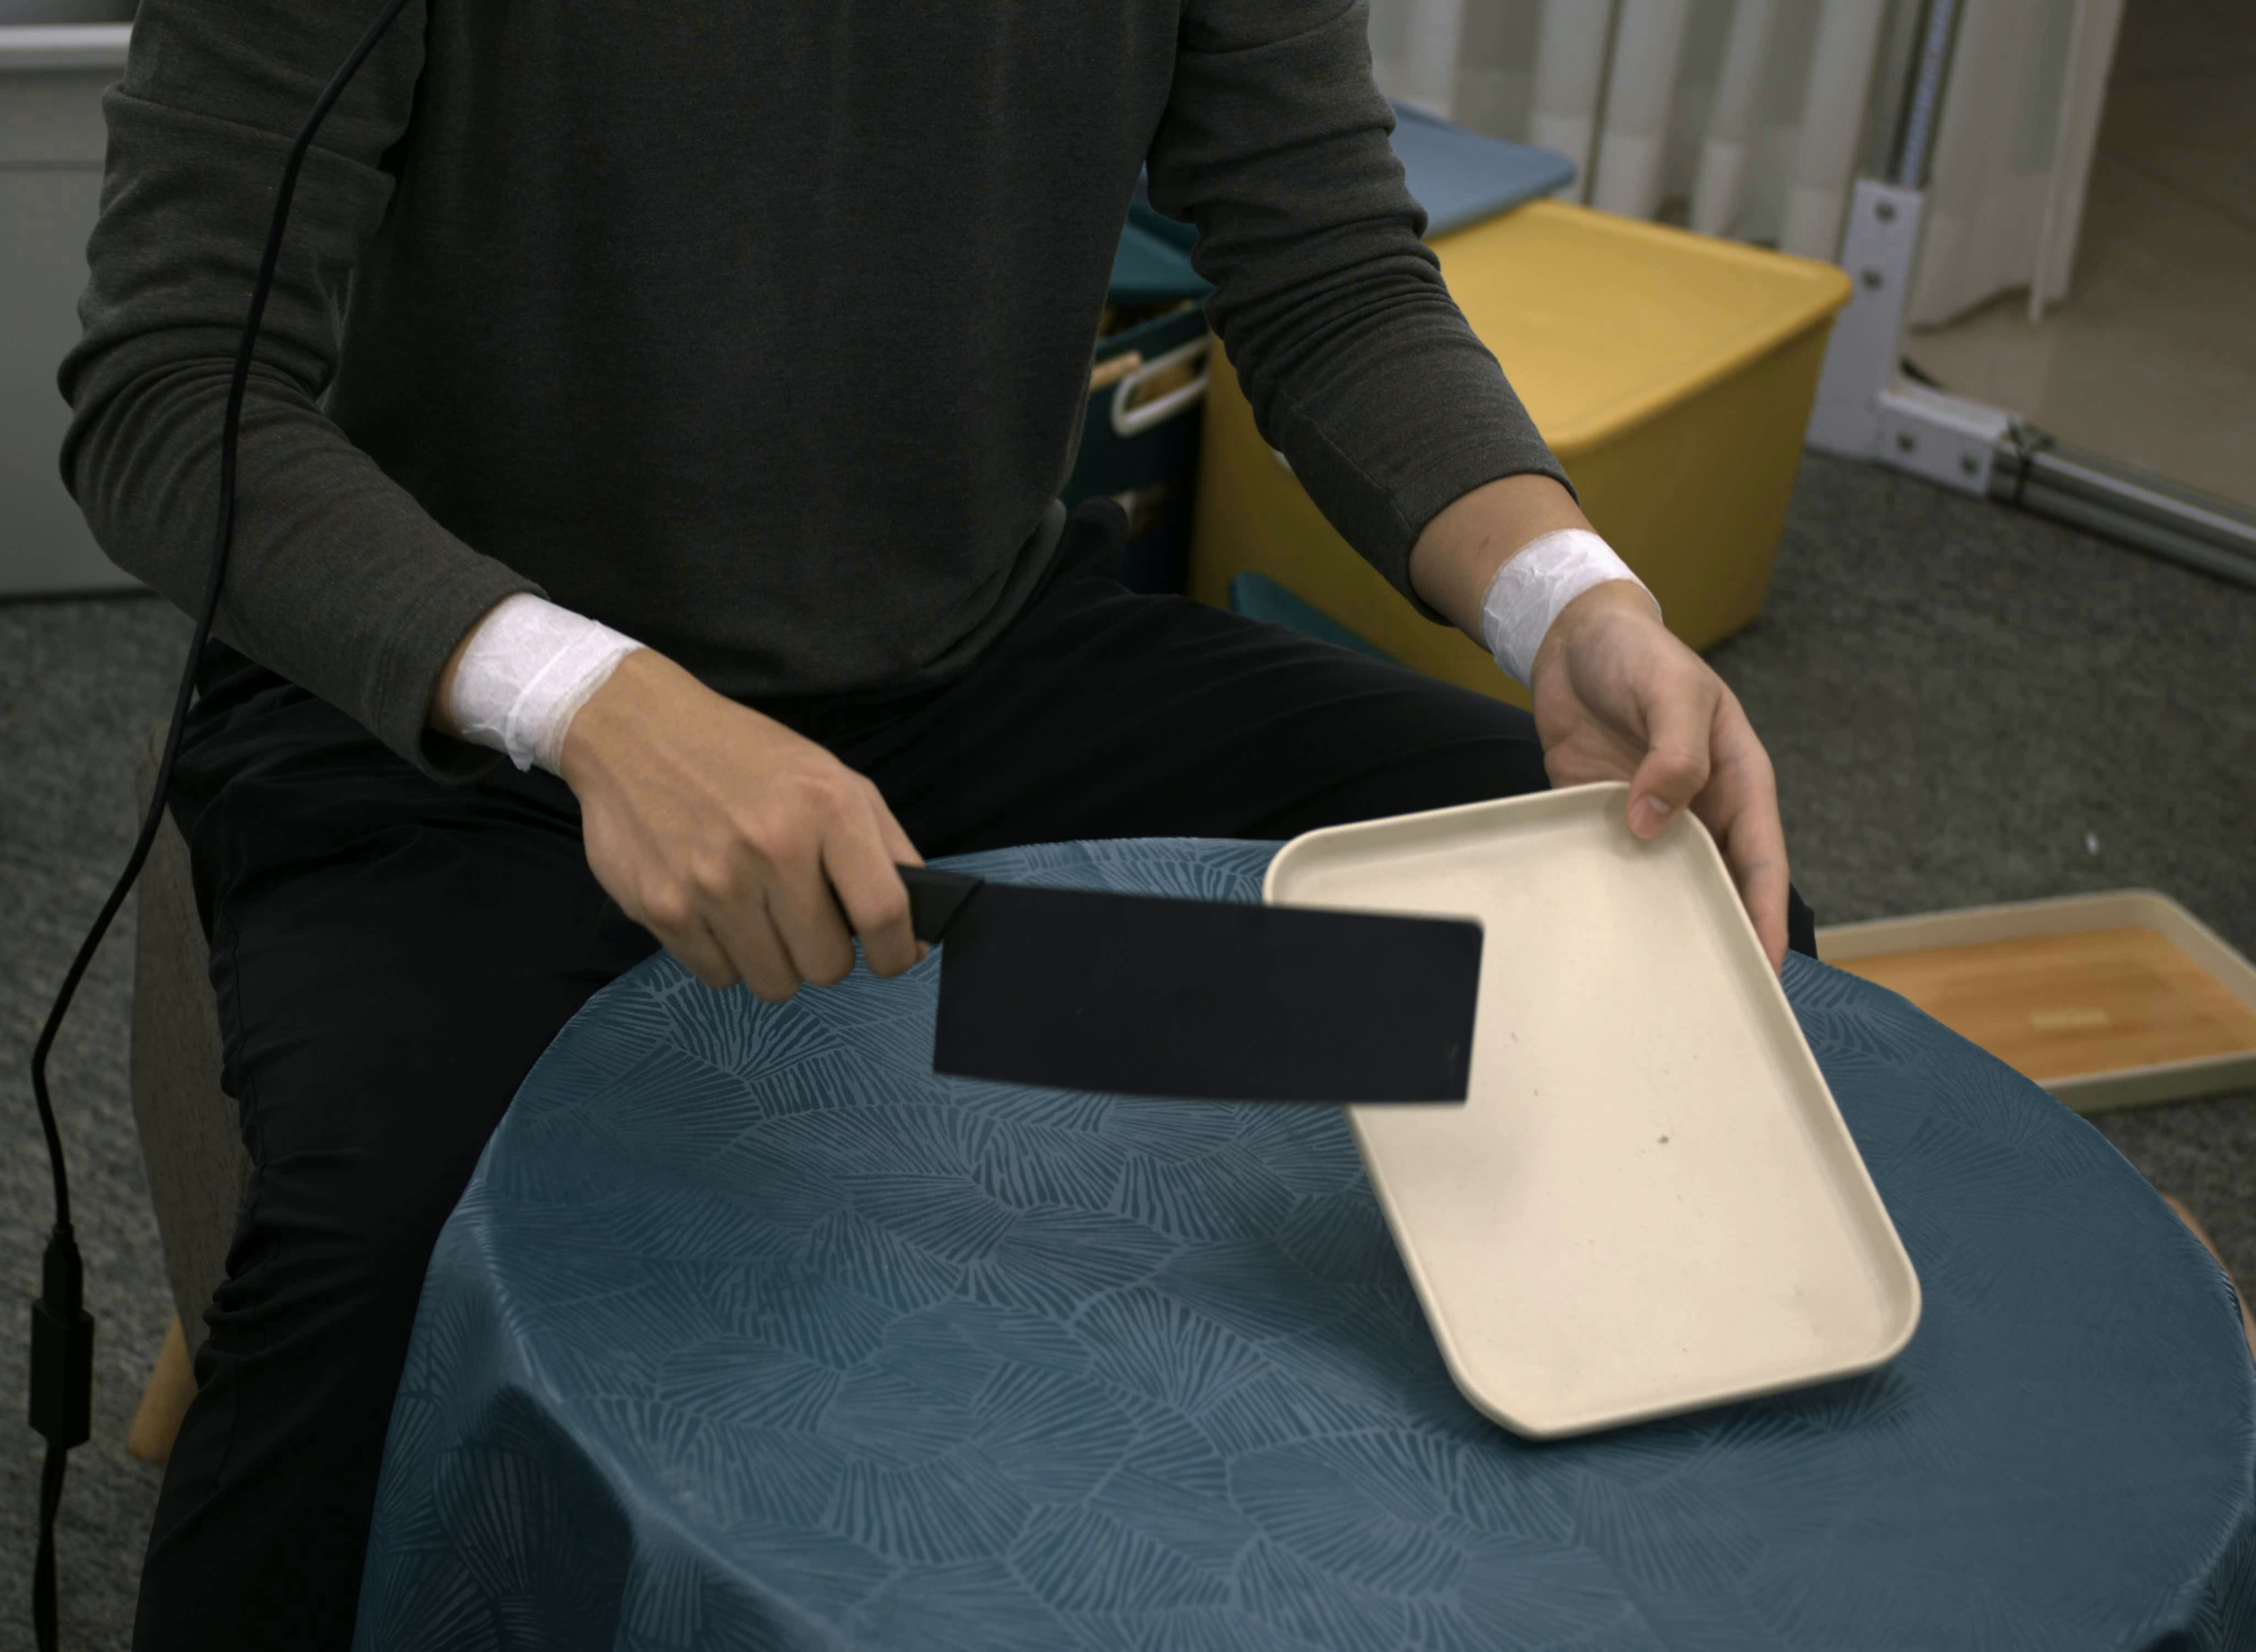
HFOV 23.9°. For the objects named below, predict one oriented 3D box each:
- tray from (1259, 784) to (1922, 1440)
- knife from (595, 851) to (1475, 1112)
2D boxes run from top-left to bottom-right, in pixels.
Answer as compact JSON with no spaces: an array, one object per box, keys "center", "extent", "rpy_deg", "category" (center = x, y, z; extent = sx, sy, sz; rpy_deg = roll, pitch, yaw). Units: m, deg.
[{"center":[0.151,0.093,1.769],"extent":[0.170,0.017,0.242],"rpy_deg":[-8,56,-21],"category":"tray"},{"center":[-0.033,0.048,1.737],"extent":[0.303,0.081,0.021],"rpy_deg":[9,-6,18],"category":"knife"}]
